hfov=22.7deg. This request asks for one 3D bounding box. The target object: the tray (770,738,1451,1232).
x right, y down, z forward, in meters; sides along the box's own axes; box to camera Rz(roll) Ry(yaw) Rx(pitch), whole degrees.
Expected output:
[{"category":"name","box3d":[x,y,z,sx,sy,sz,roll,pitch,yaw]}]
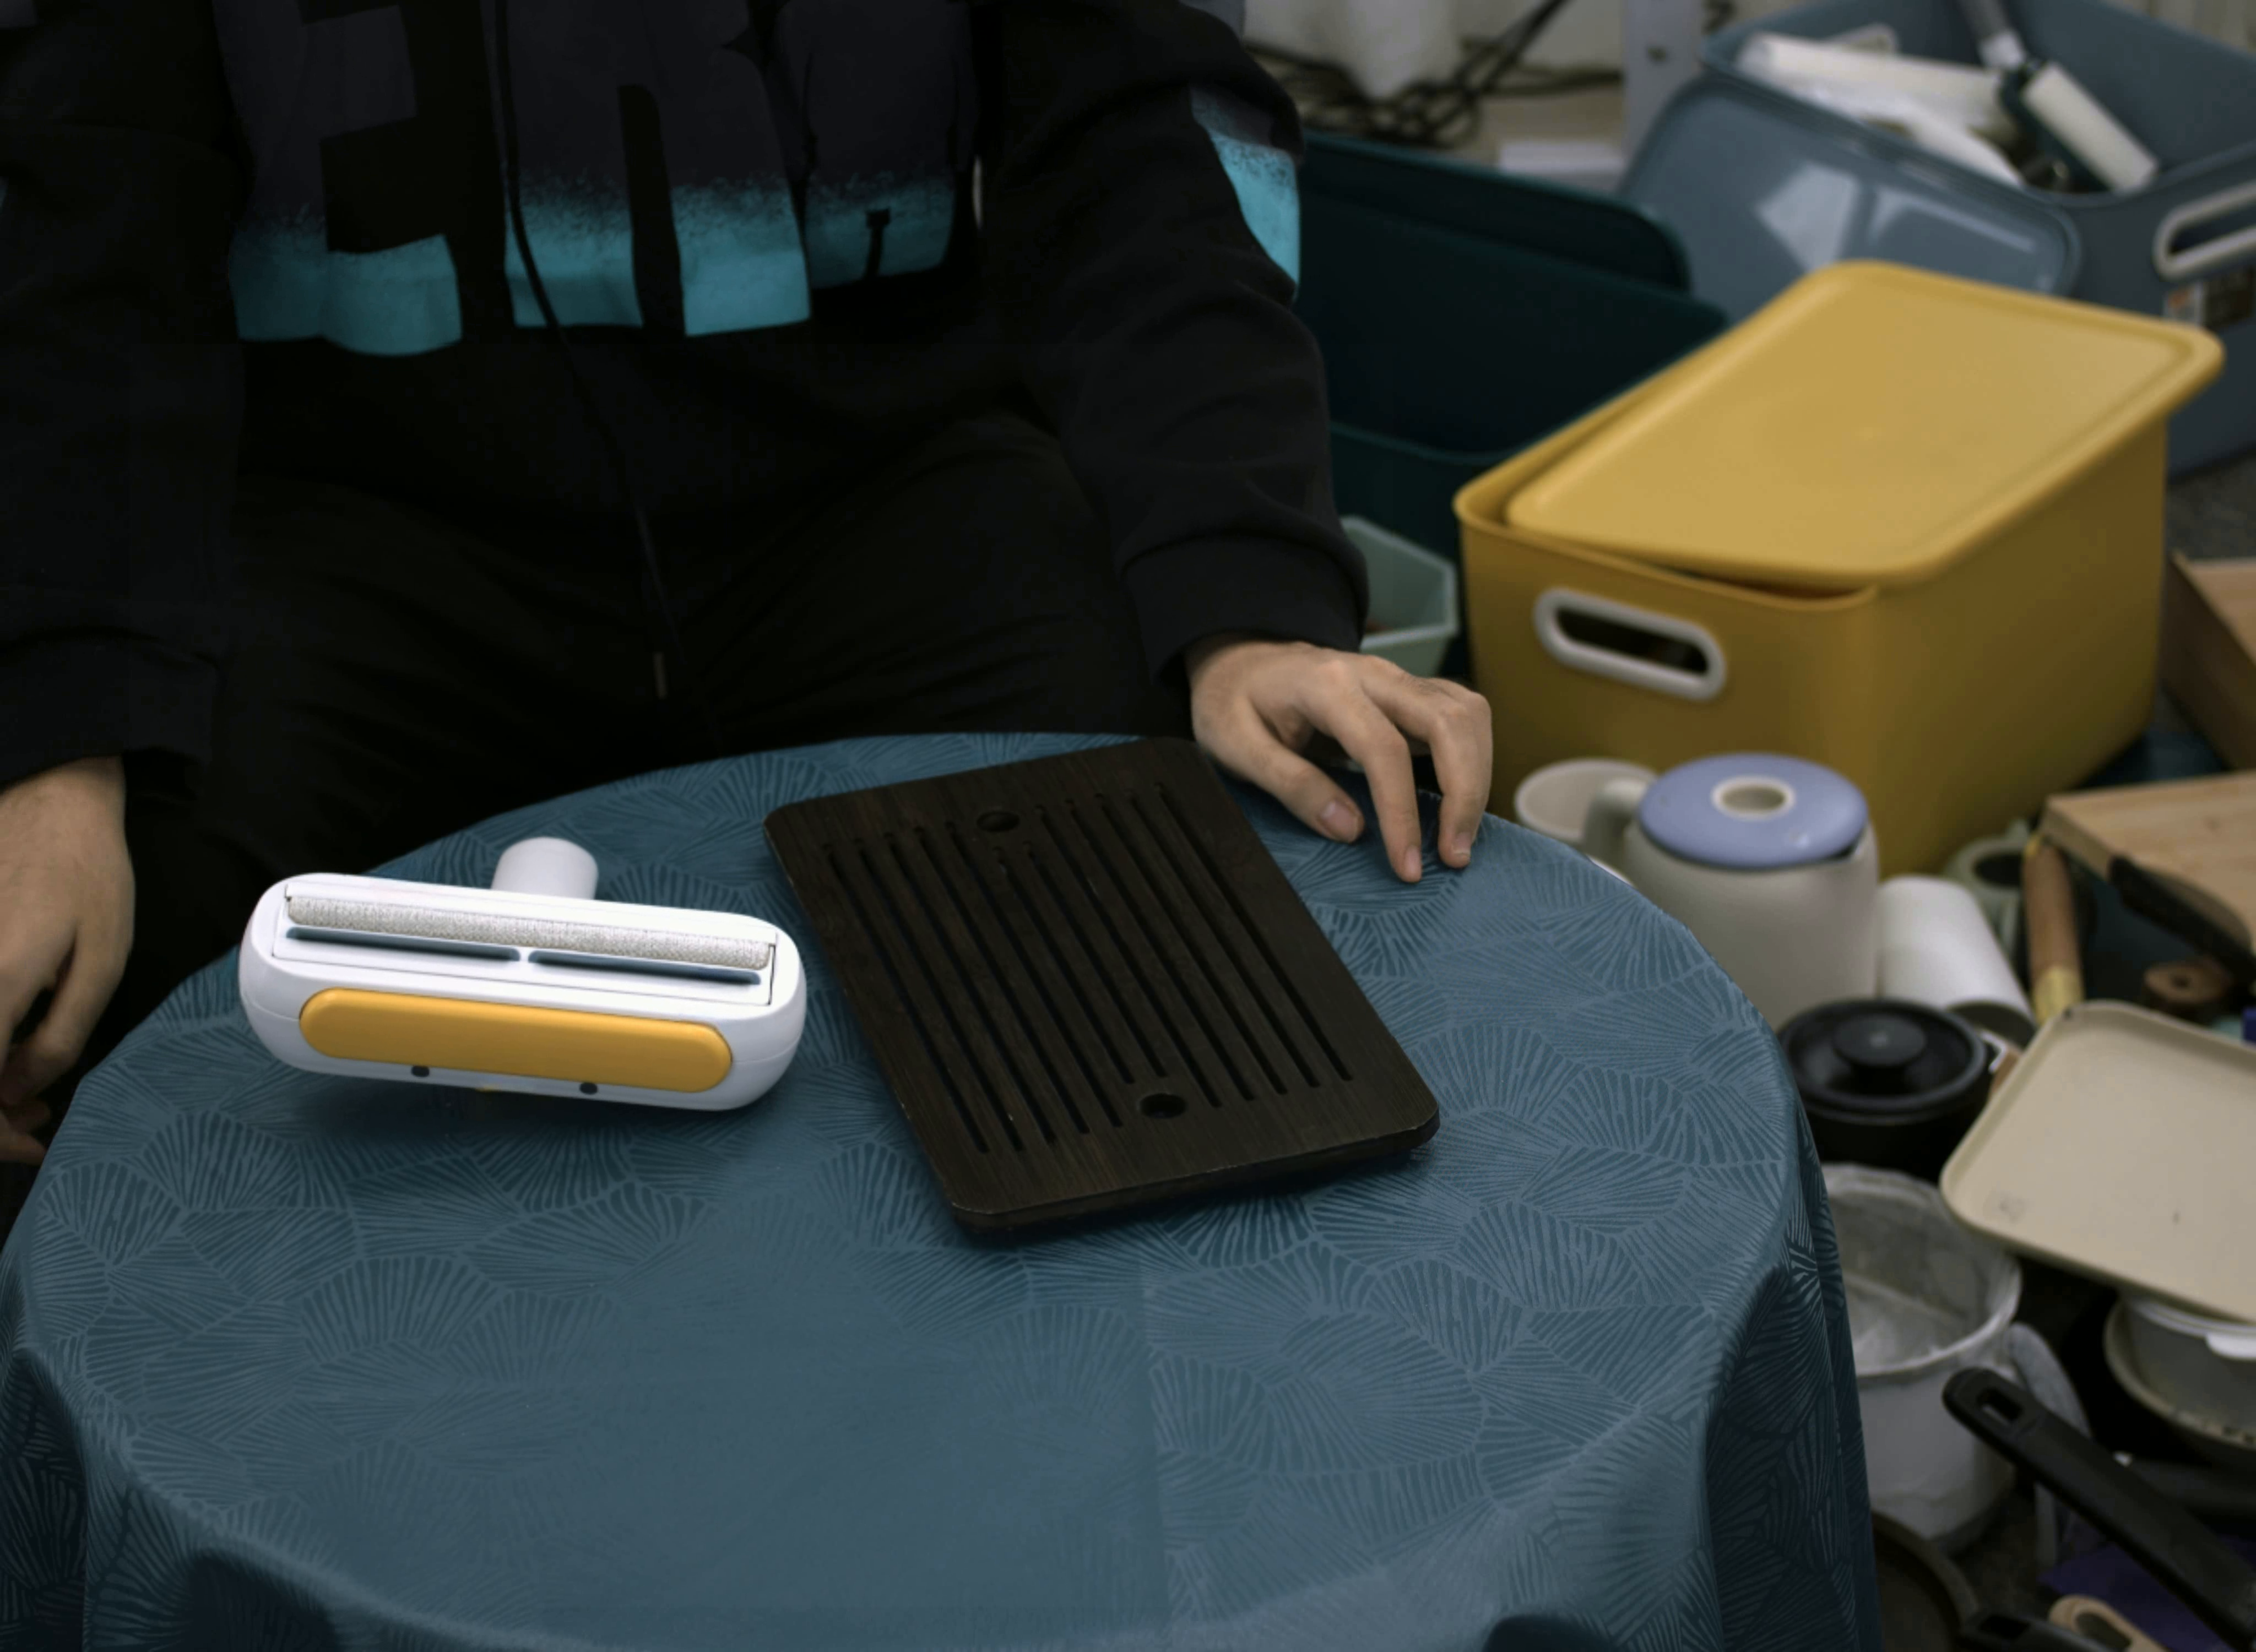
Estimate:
[{"category":"tray","box3d":[-0.012,0.053,1.975,0.170,0.018,0.309,-10,28,-13]}]

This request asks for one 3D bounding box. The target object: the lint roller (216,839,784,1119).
[{"category":"lint roller","box3d":[-0.211,0.038,1.970,0.192,0.073,0.195,4,26,1]}]
